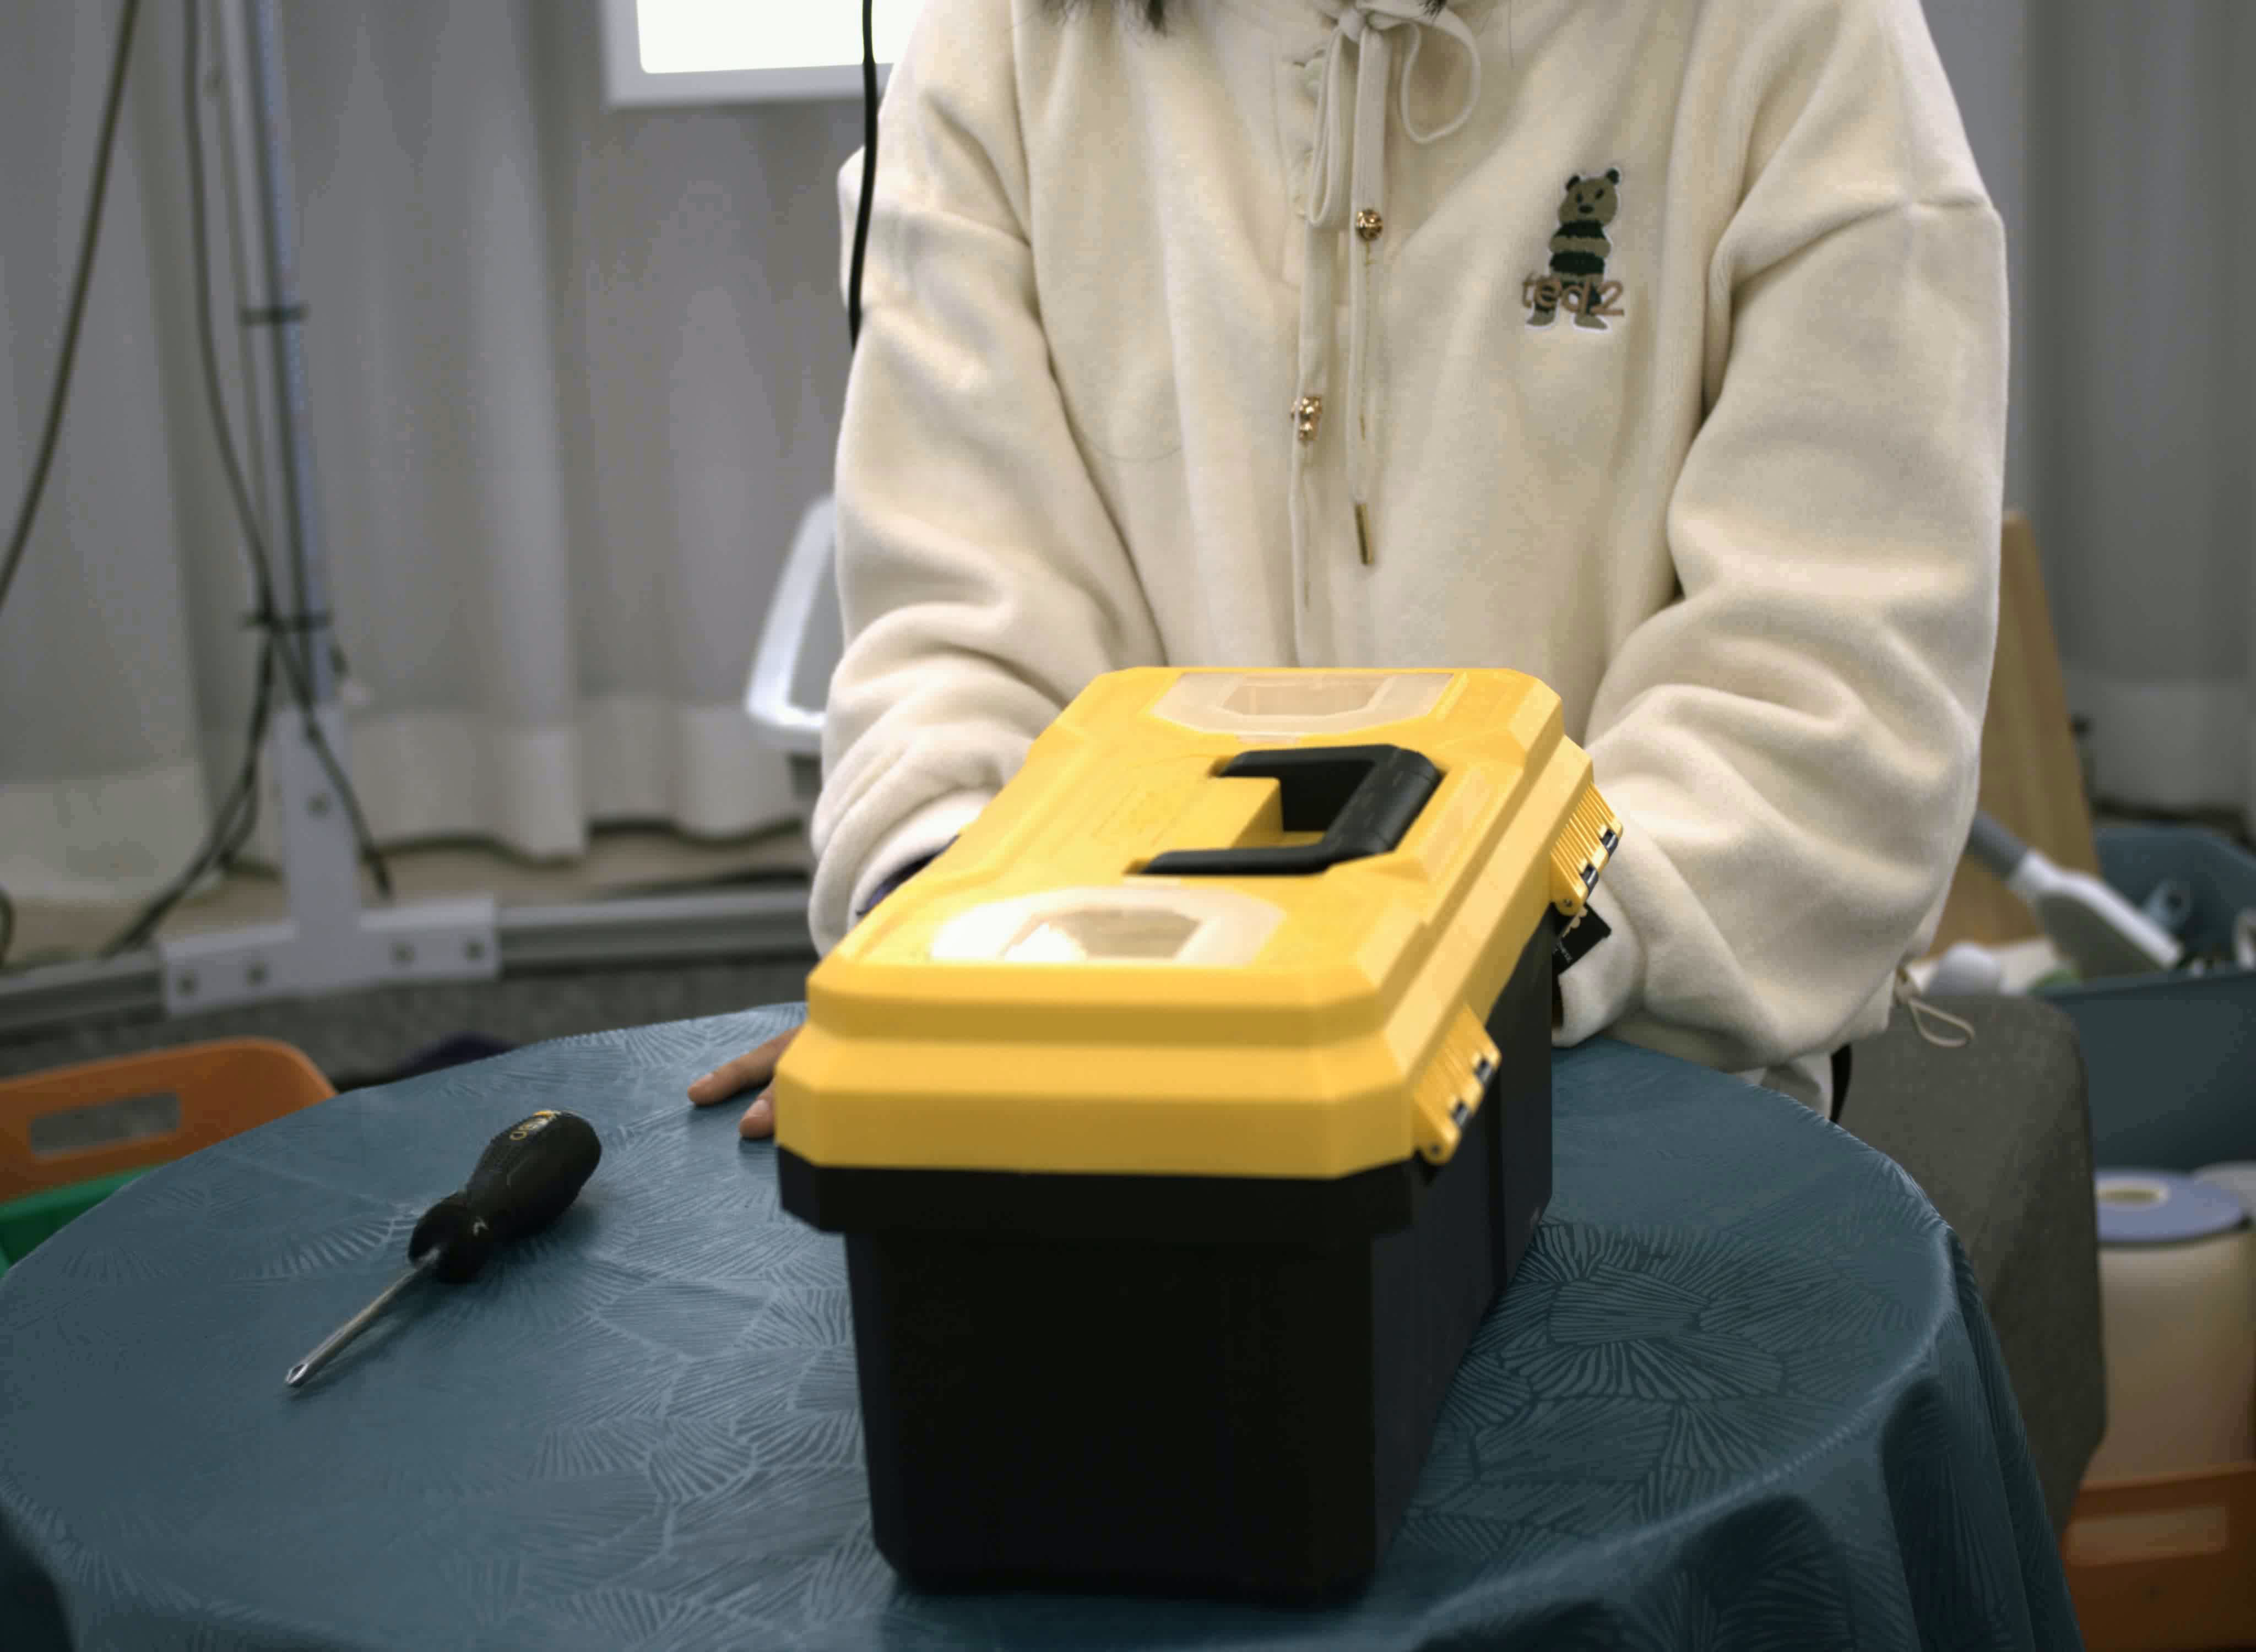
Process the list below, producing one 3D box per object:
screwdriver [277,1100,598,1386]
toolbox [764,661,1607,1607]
[{"bbox_3d":[-0.211,0.125,1.656,0.031,0.031,0.197,3,17,21],"label":"screwdriver"},{"bbox_3d":[0.028,0.075,1.521,0.181,0.172,0.353,1,15,14],"label":"toolbox"}]
